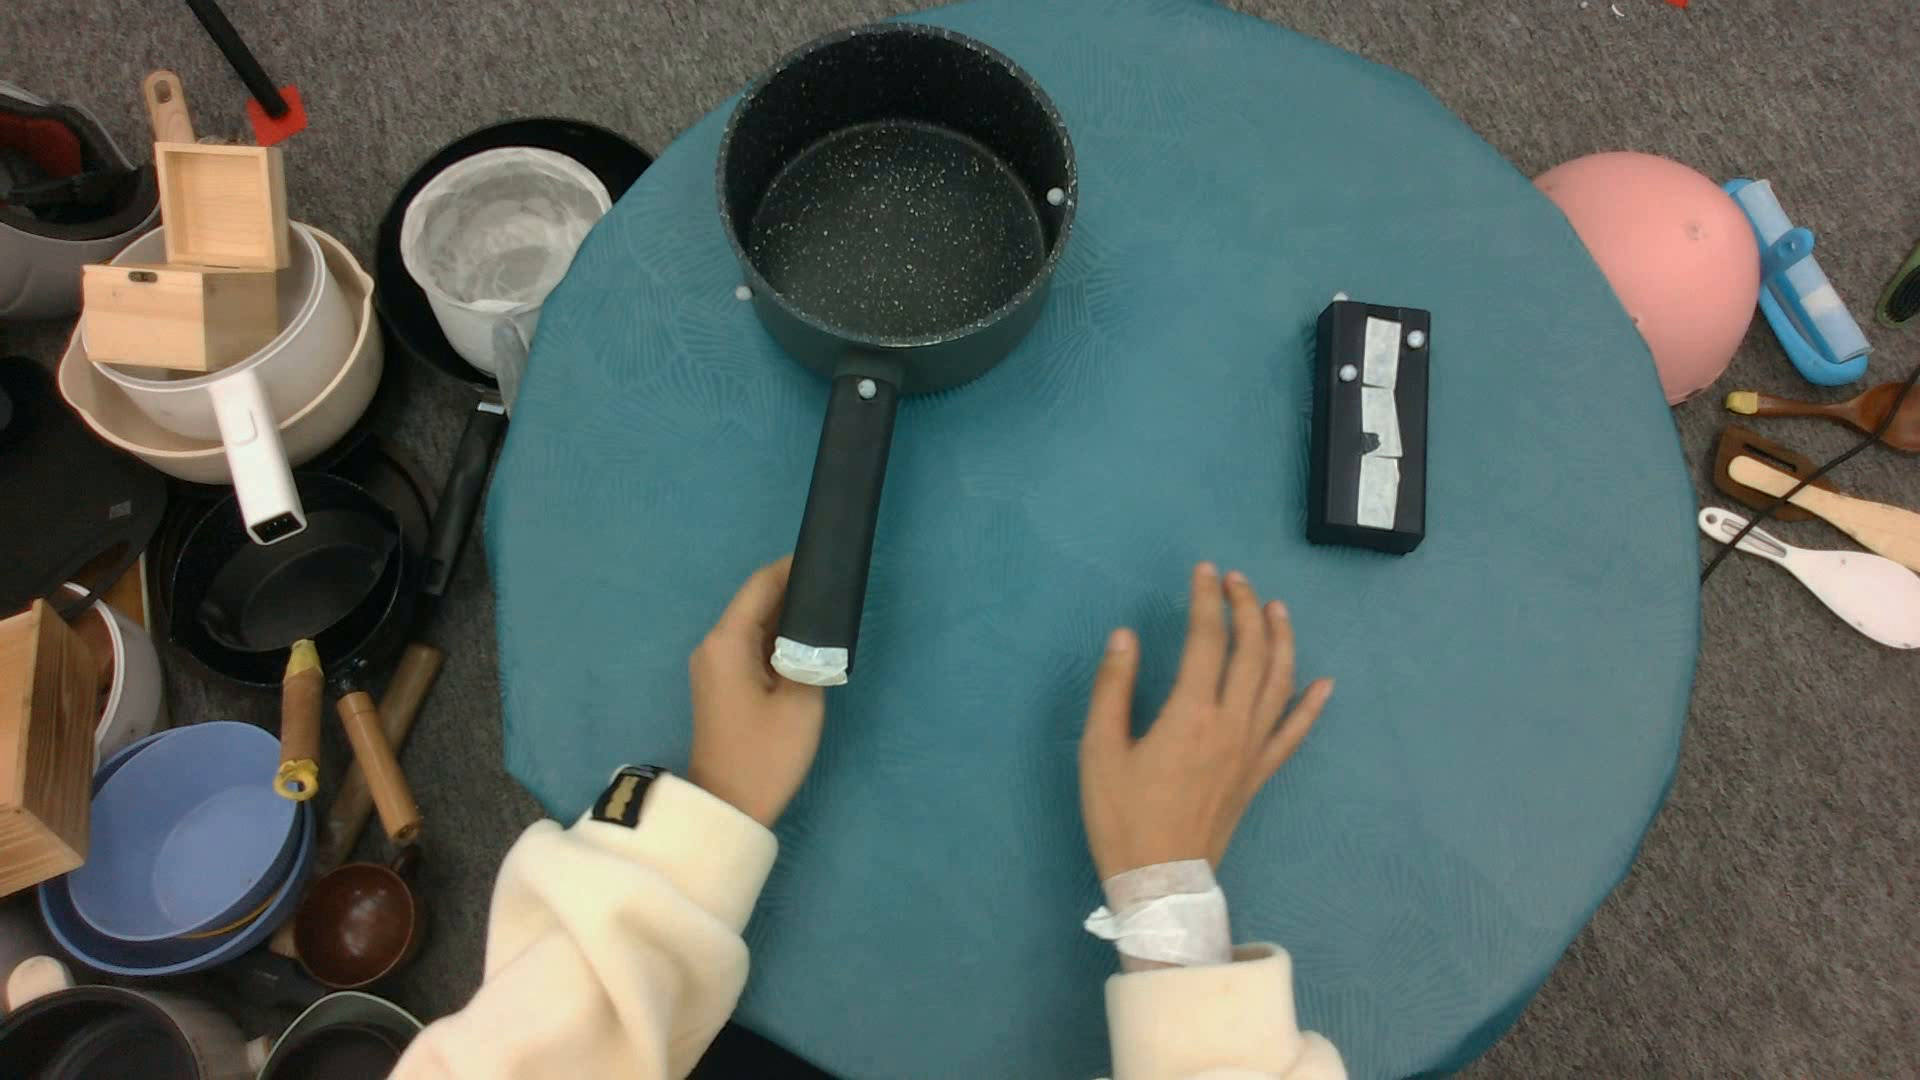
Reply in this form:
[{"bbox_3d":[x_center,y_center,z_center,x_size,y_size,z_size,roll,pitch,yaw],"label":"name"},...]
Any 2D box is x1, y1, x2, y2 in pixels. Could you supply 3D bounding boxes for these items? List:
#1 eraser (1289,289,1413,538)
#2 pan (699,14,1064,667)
[{"bbox_3d":[0.197,-0.065,0.693,0.053,0.030,0.126,8,74,0],"label":"eraser"},{"bbox_3d":[-0.051,-0.092,0.658,0.172,0.086,0.330,10,71,1],"label":"pan"}]
